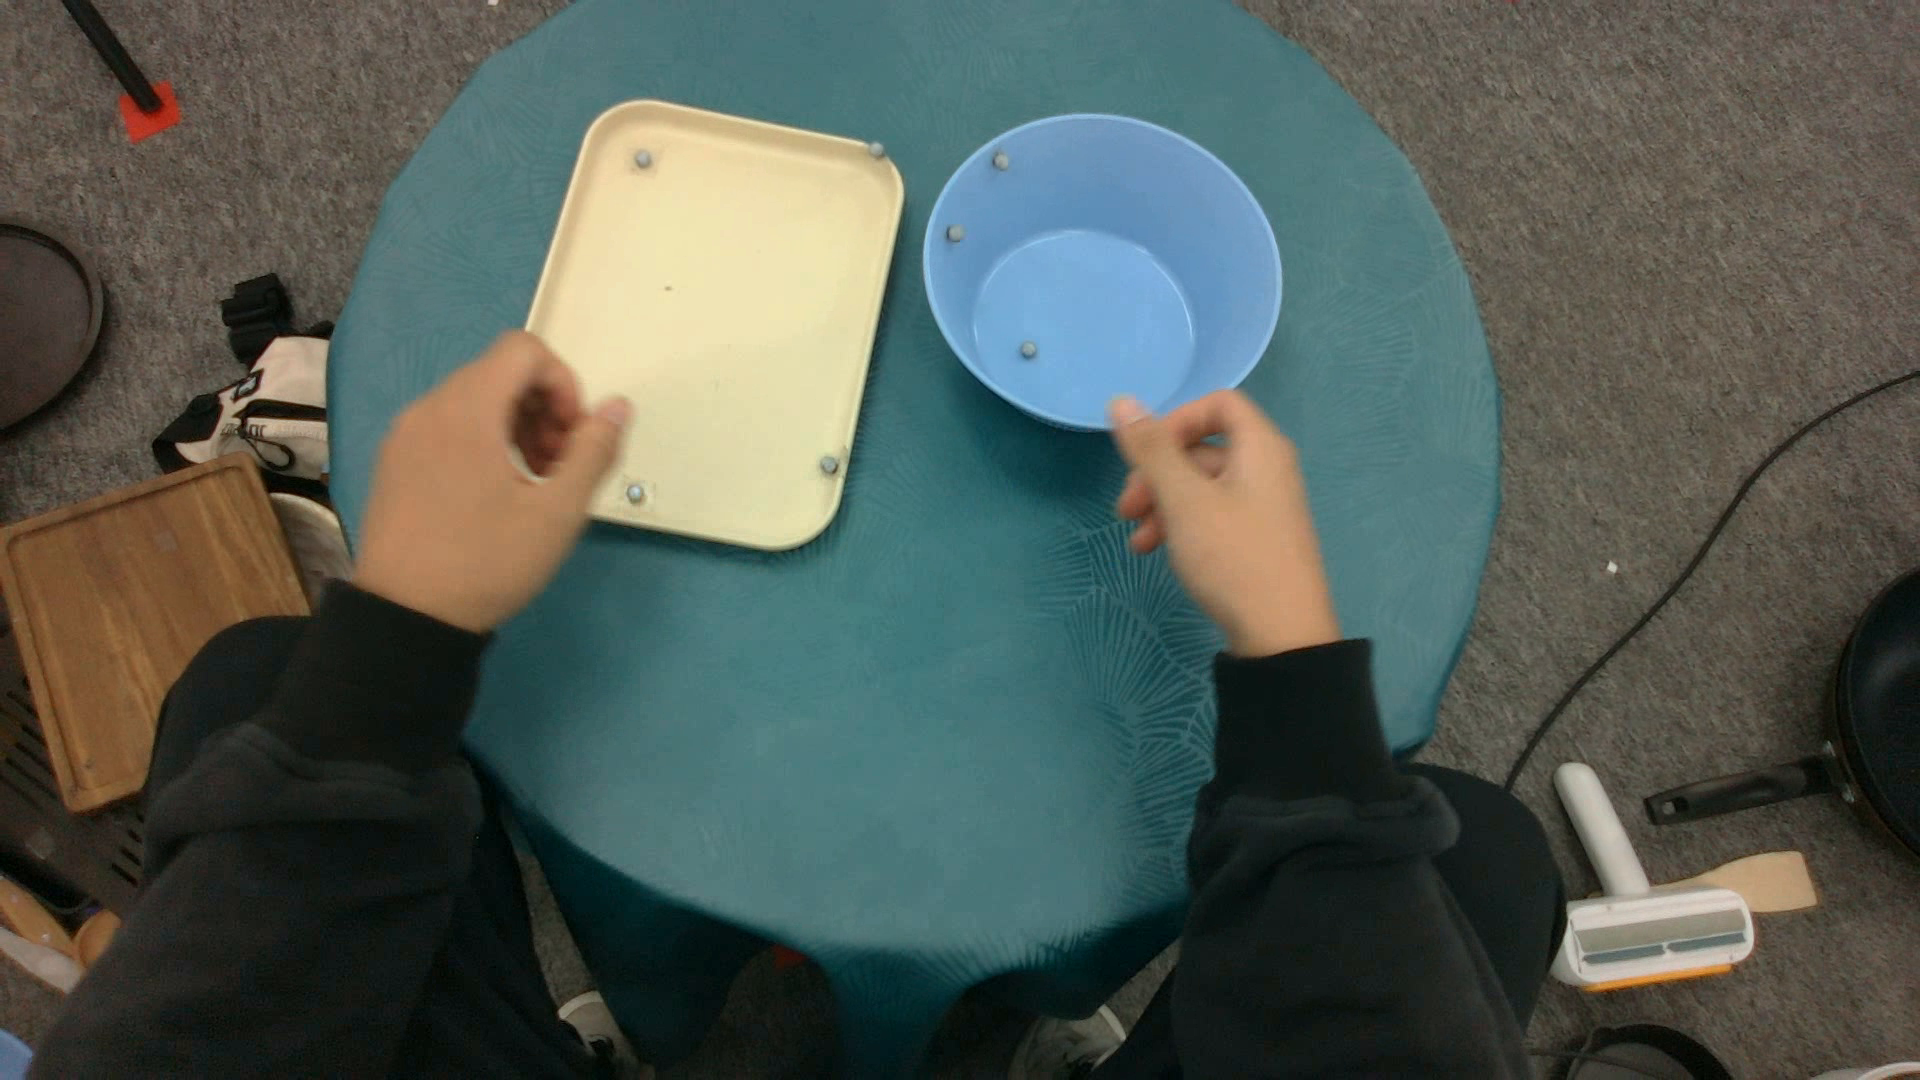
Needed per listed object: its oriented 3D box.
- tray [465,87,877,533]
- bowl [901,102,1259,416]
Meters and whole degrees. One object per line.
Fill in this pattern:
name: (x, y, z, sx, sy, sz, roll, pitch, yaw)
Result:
tray: (-0.141, -0.121, 0.700, 0.171, 0.017, 0.240, 10, 68, -2)
bowl: (0.056, -0.130, 0.696, 0.176, 0.070, 0.176, 2, 68, -5)
